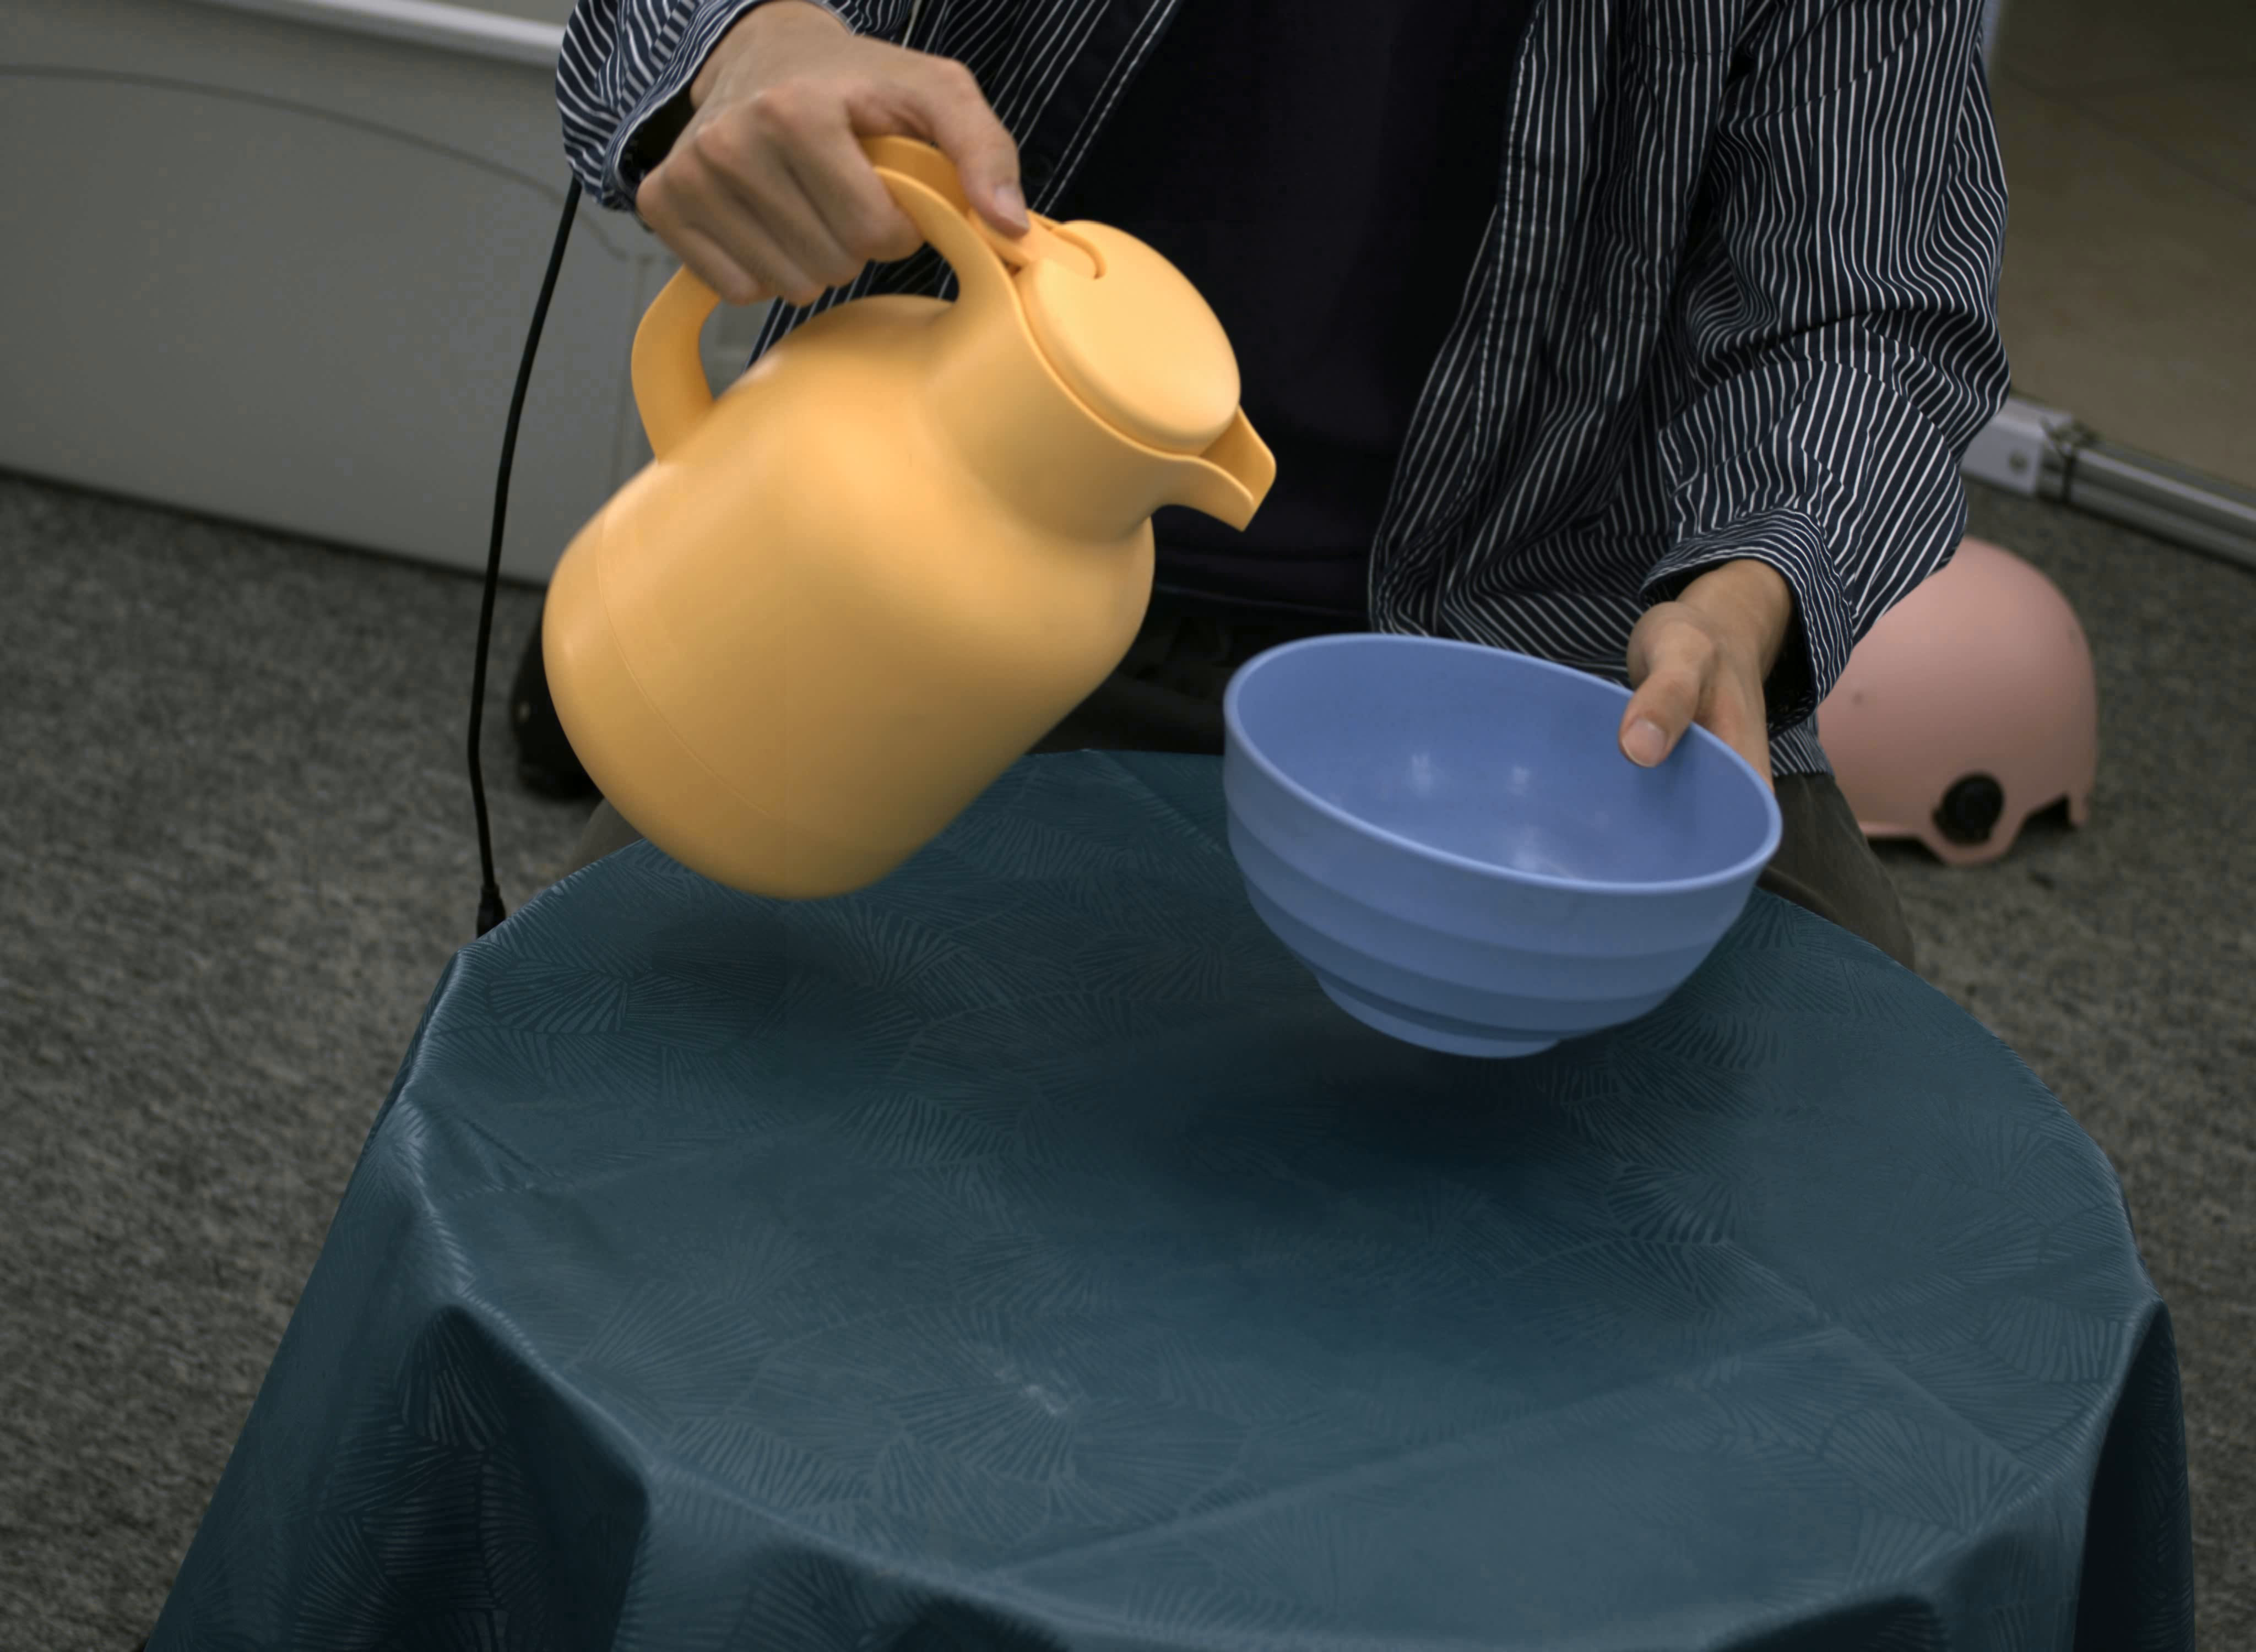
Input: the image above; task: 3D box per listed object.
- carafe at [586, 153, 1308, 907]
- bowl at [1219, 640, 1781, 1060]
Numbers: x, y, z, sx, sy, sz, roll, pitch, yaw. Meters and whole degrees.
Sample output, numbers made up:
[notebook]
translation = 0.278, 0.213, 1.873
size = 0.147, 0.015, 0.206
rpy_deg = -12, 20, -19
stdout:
[carafe]
translation = -0.075, -0.110, 1.830
size = 0.202, 0.260, 0.164
rpy_deg = 43, 35, -8
[bowl]
translation = 0.118, 0.018, 1.836
size = 0.196, 0.095, 0.197
rpy_deg = 10, 24, -5
